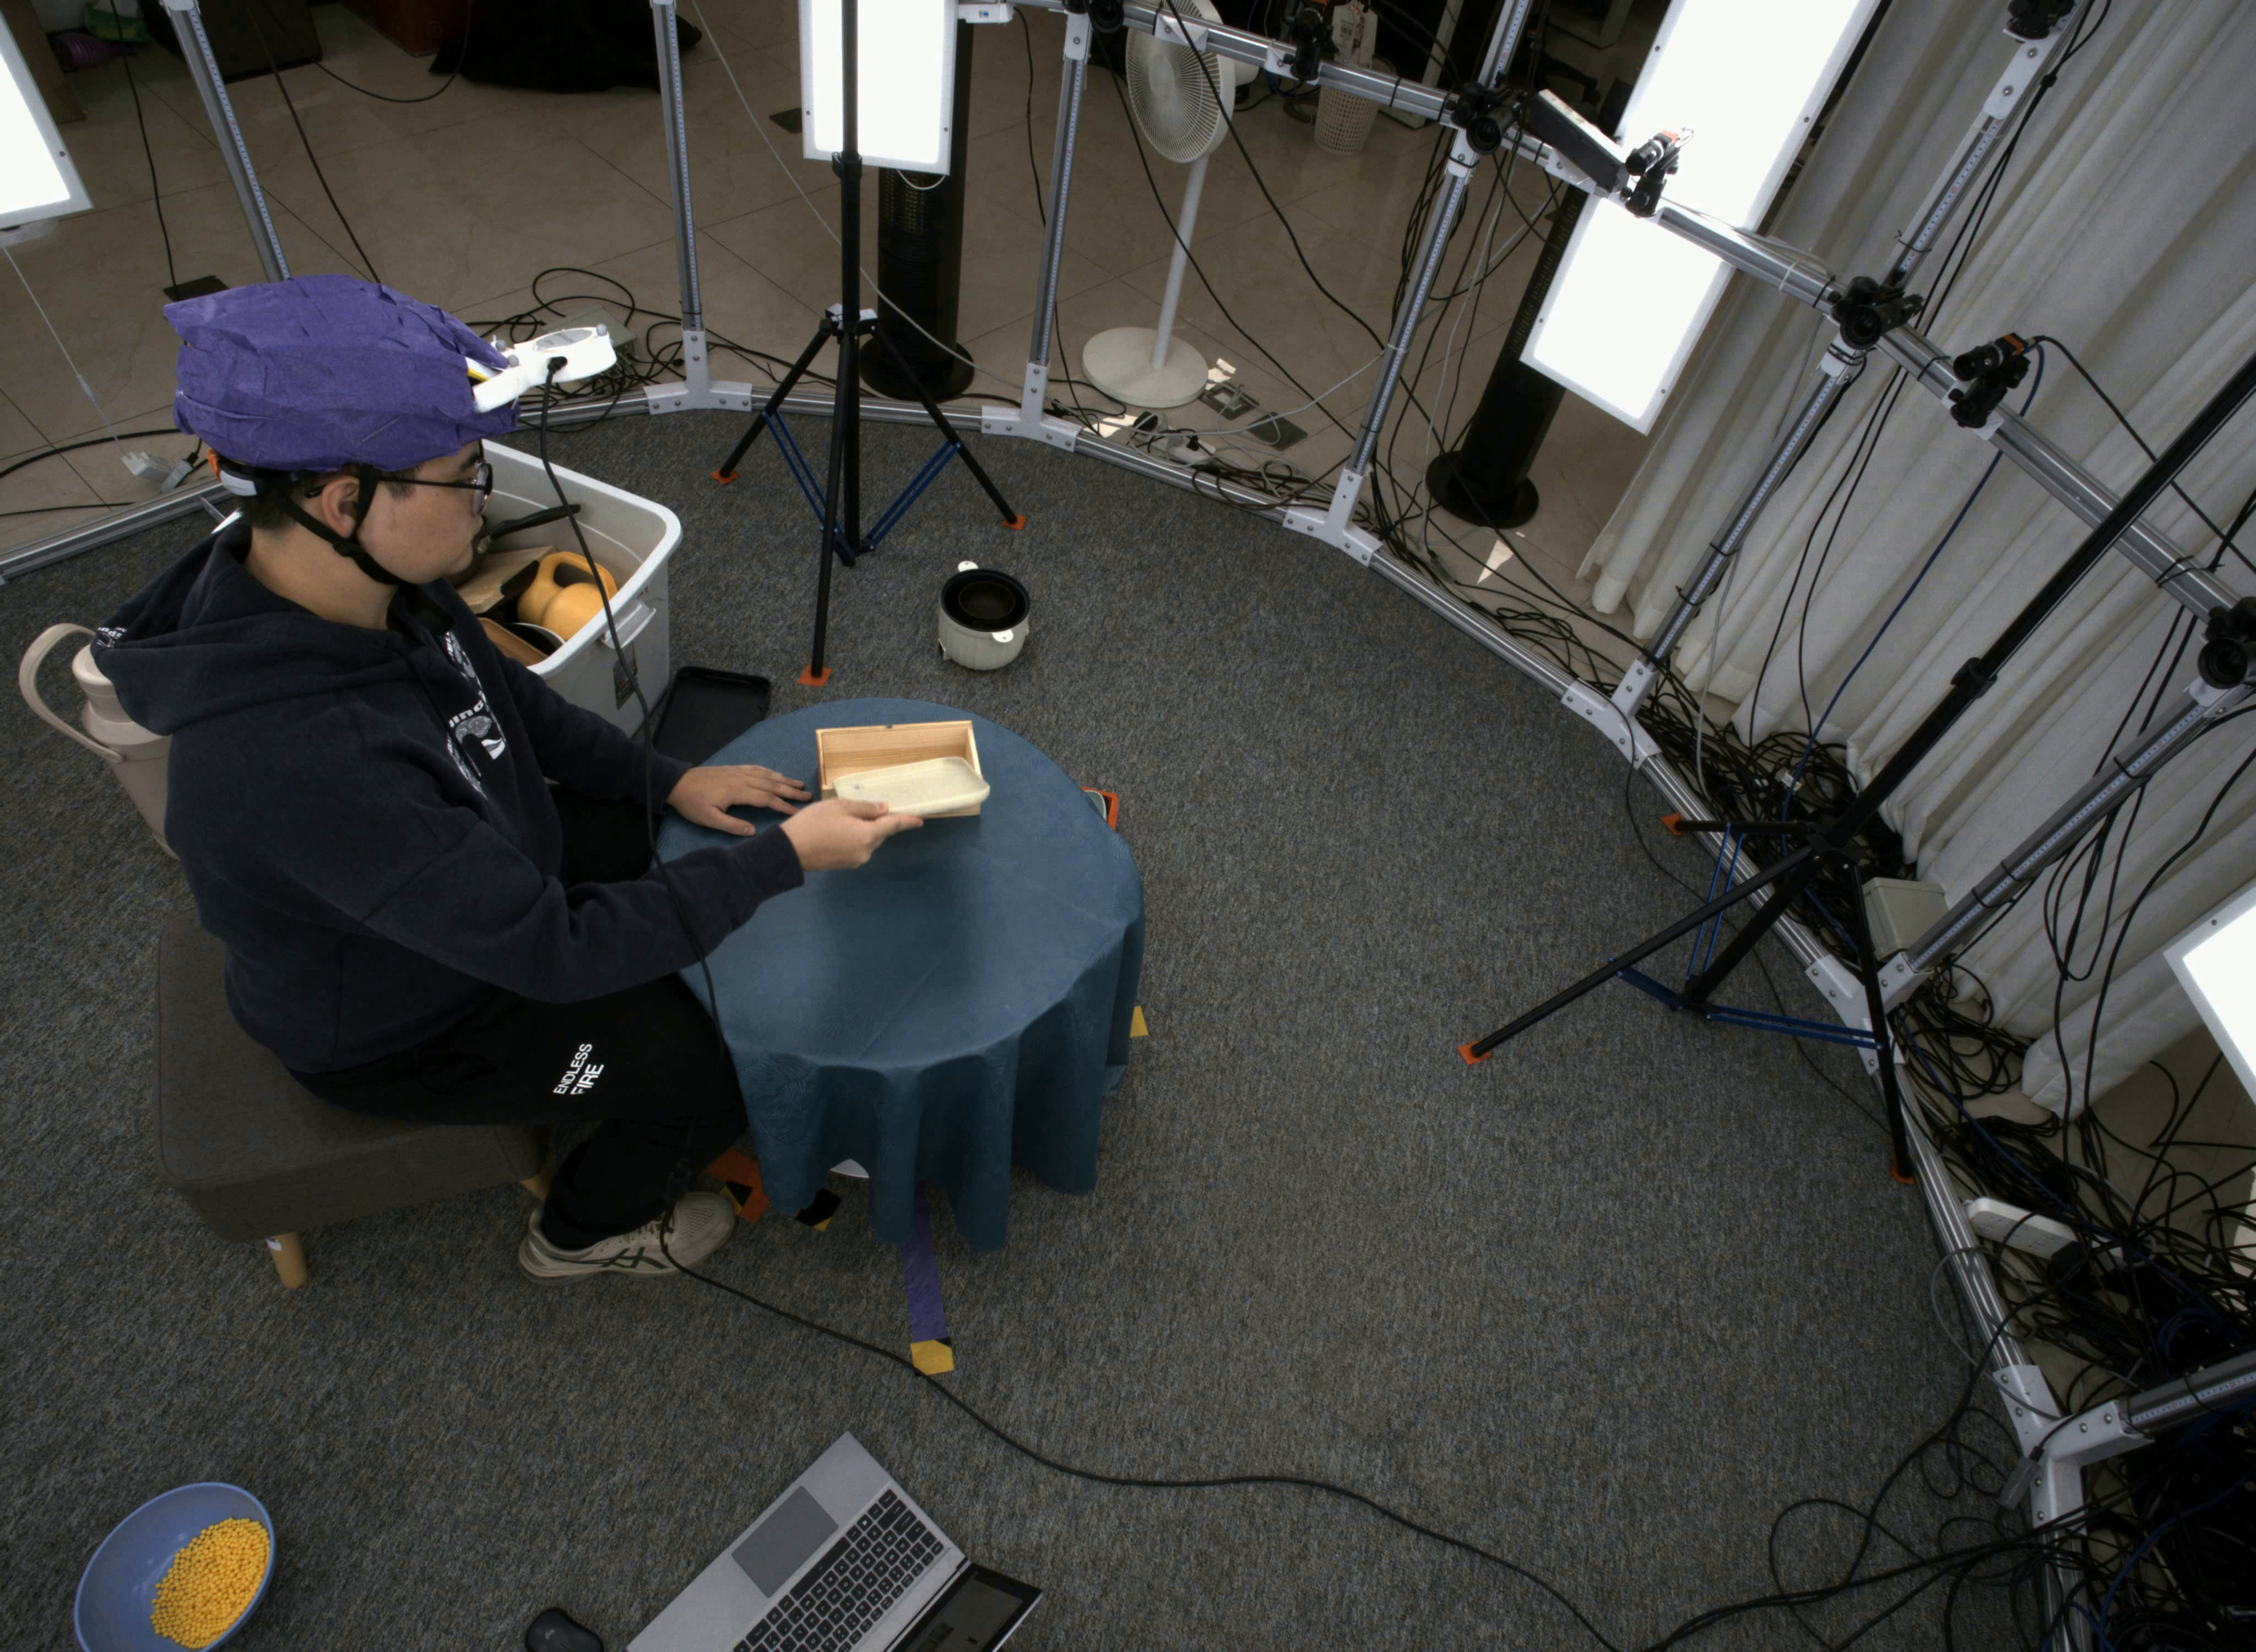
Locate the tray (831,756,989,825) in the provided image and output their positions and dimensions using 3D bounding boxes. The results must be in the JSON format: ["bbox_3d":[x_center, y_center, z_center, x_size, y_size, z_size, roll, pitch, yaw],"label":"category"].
[{"bbox_3d":[-0.265,-0.045,1.564,0.171,0.018,0.233,-11,16,-15],"label":"tray"}]

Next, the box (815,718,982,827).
[{"bbox_3d":[-0.309,-0.074,1.753,0.212,0.082,0.105,-5,54,-17],"label":"box"}]
